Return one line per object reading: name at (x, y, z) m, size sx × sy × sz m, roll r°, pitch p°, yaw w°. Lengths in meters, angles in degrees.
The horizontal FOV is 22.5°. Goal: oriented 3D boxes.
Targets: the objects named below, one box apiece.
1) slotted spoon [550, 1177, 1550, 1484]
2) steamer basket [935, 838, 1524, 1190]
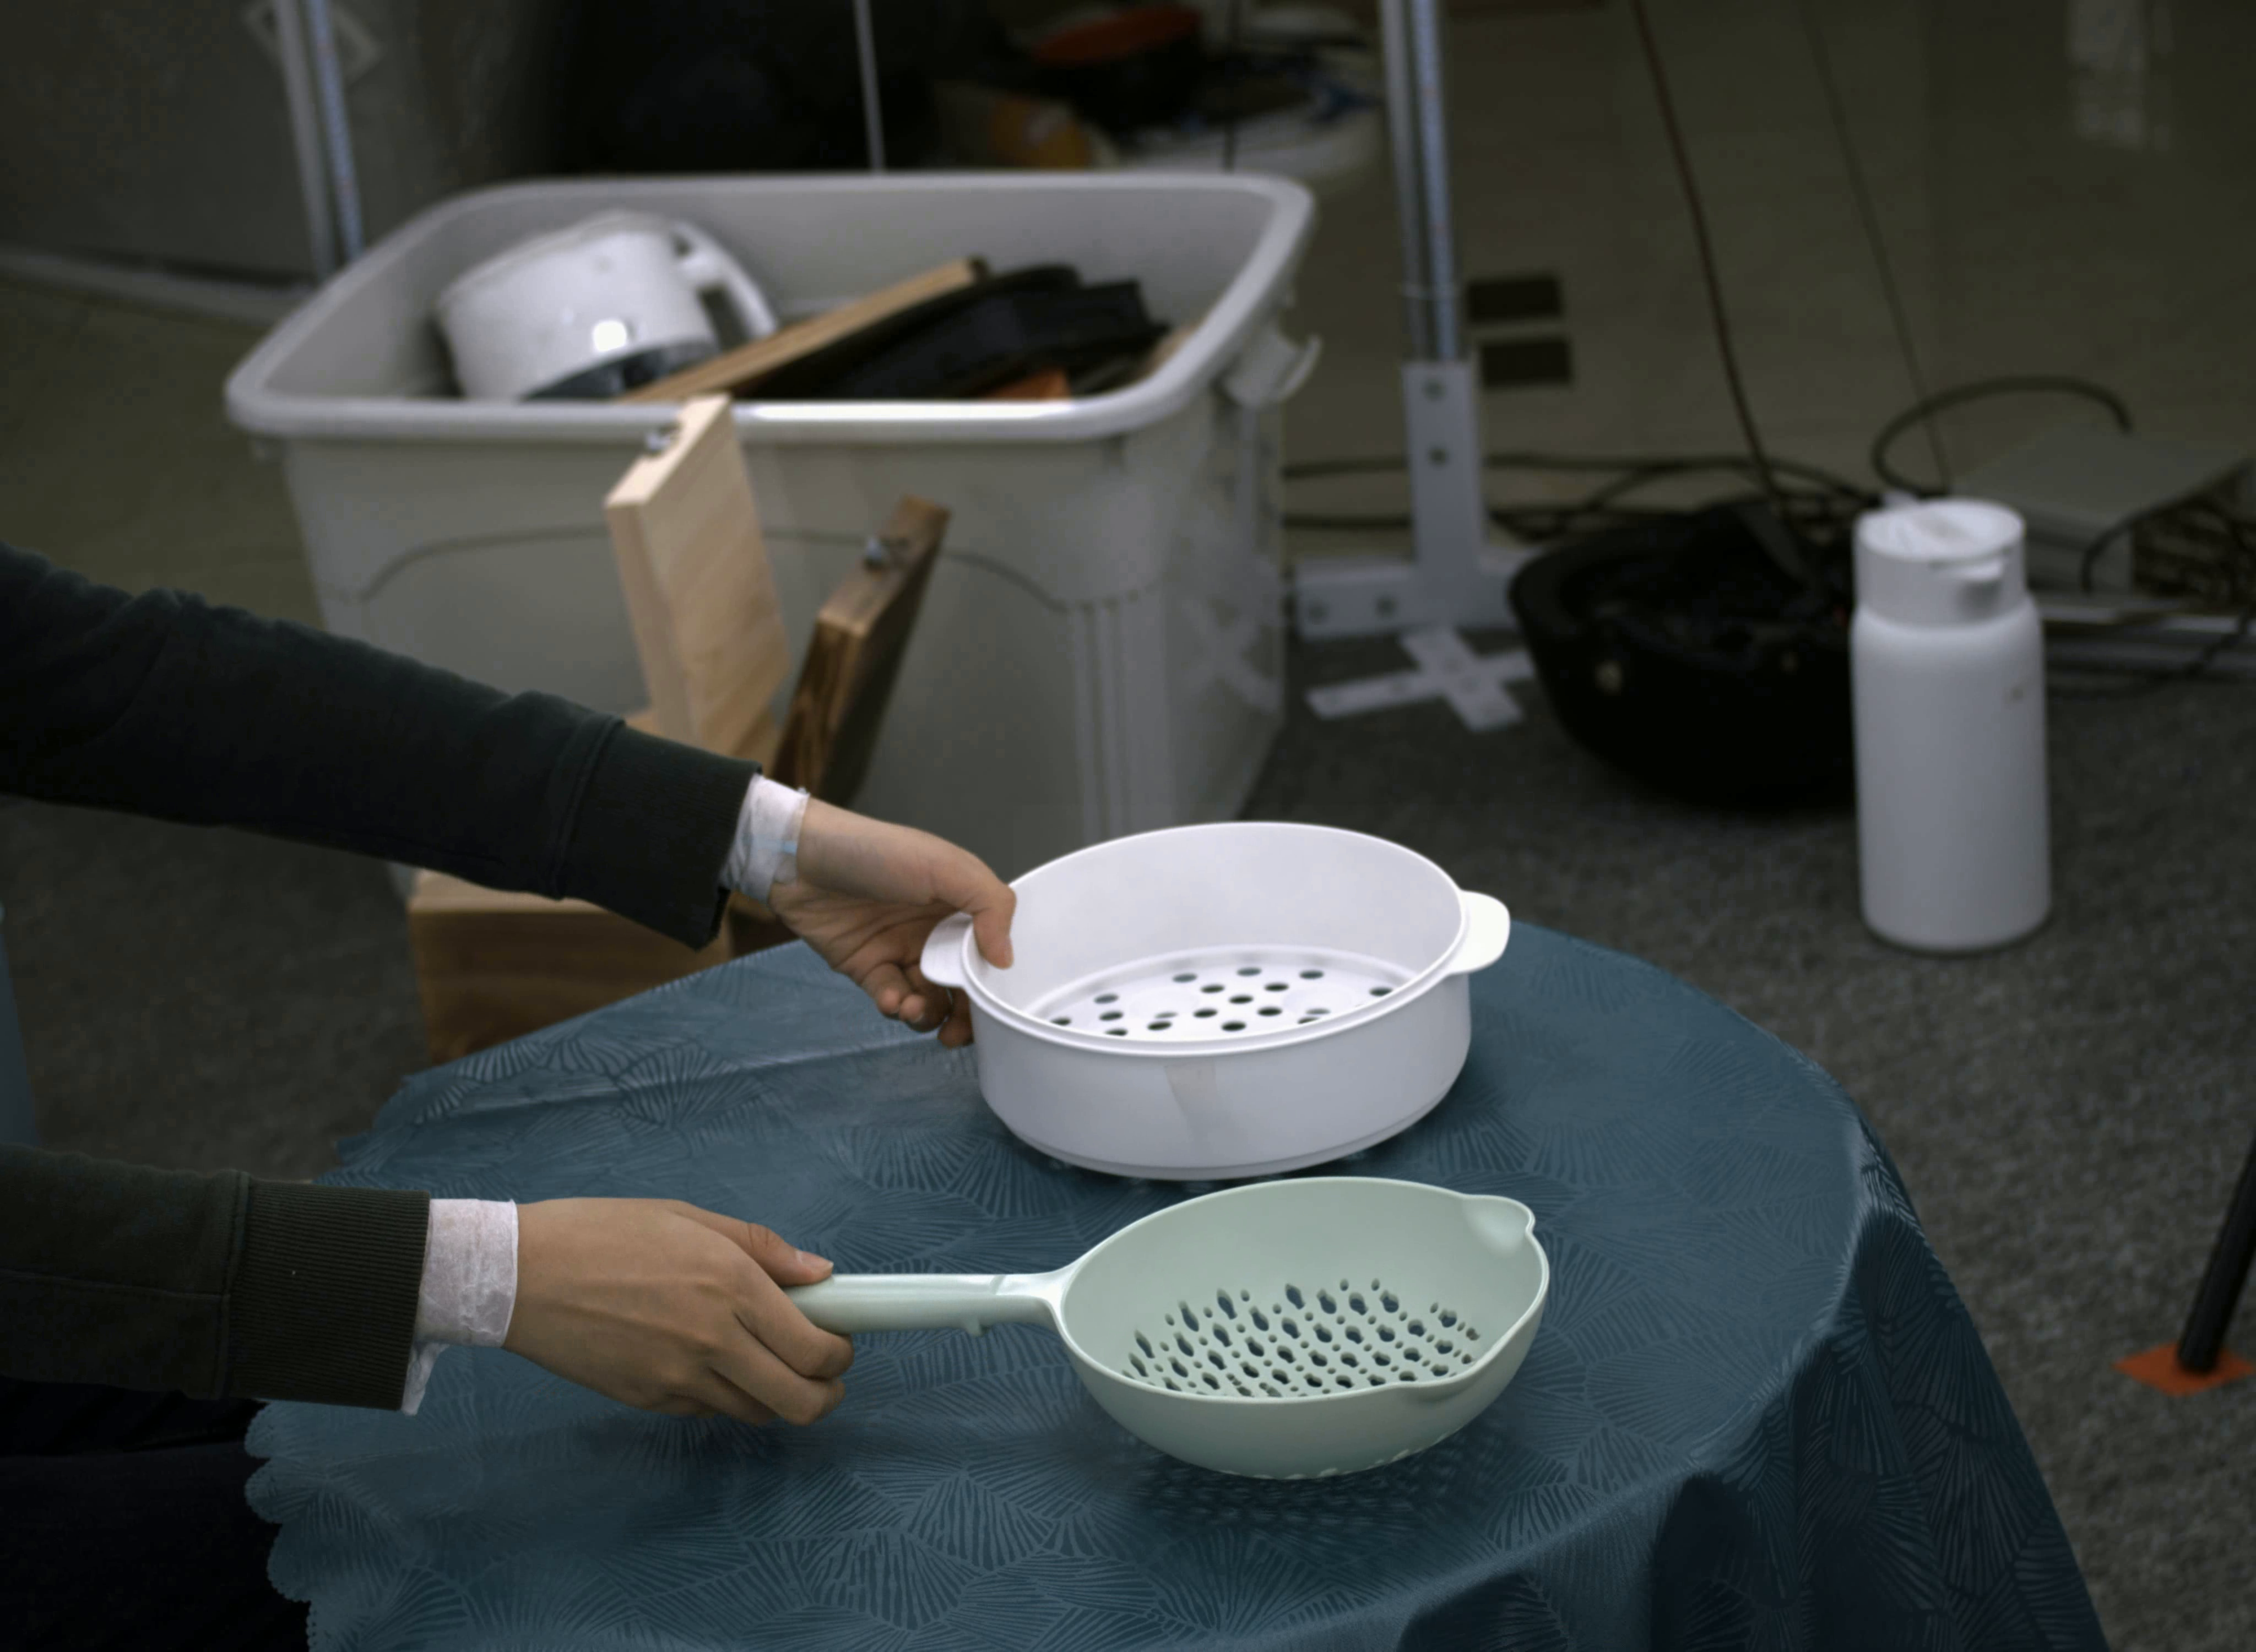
slotted spoon at (-0.033, 0.173, 1.987) m, size 0.358 × 0.076 × 0.167 m, roll 6°, pitch 24°, yaw 11°
steamer basket at (0.042, 0.073, 2.210) m, size 0.230 × 0.070 × 0.199 m, roll -3°, pitch 23°, yaw 9°
